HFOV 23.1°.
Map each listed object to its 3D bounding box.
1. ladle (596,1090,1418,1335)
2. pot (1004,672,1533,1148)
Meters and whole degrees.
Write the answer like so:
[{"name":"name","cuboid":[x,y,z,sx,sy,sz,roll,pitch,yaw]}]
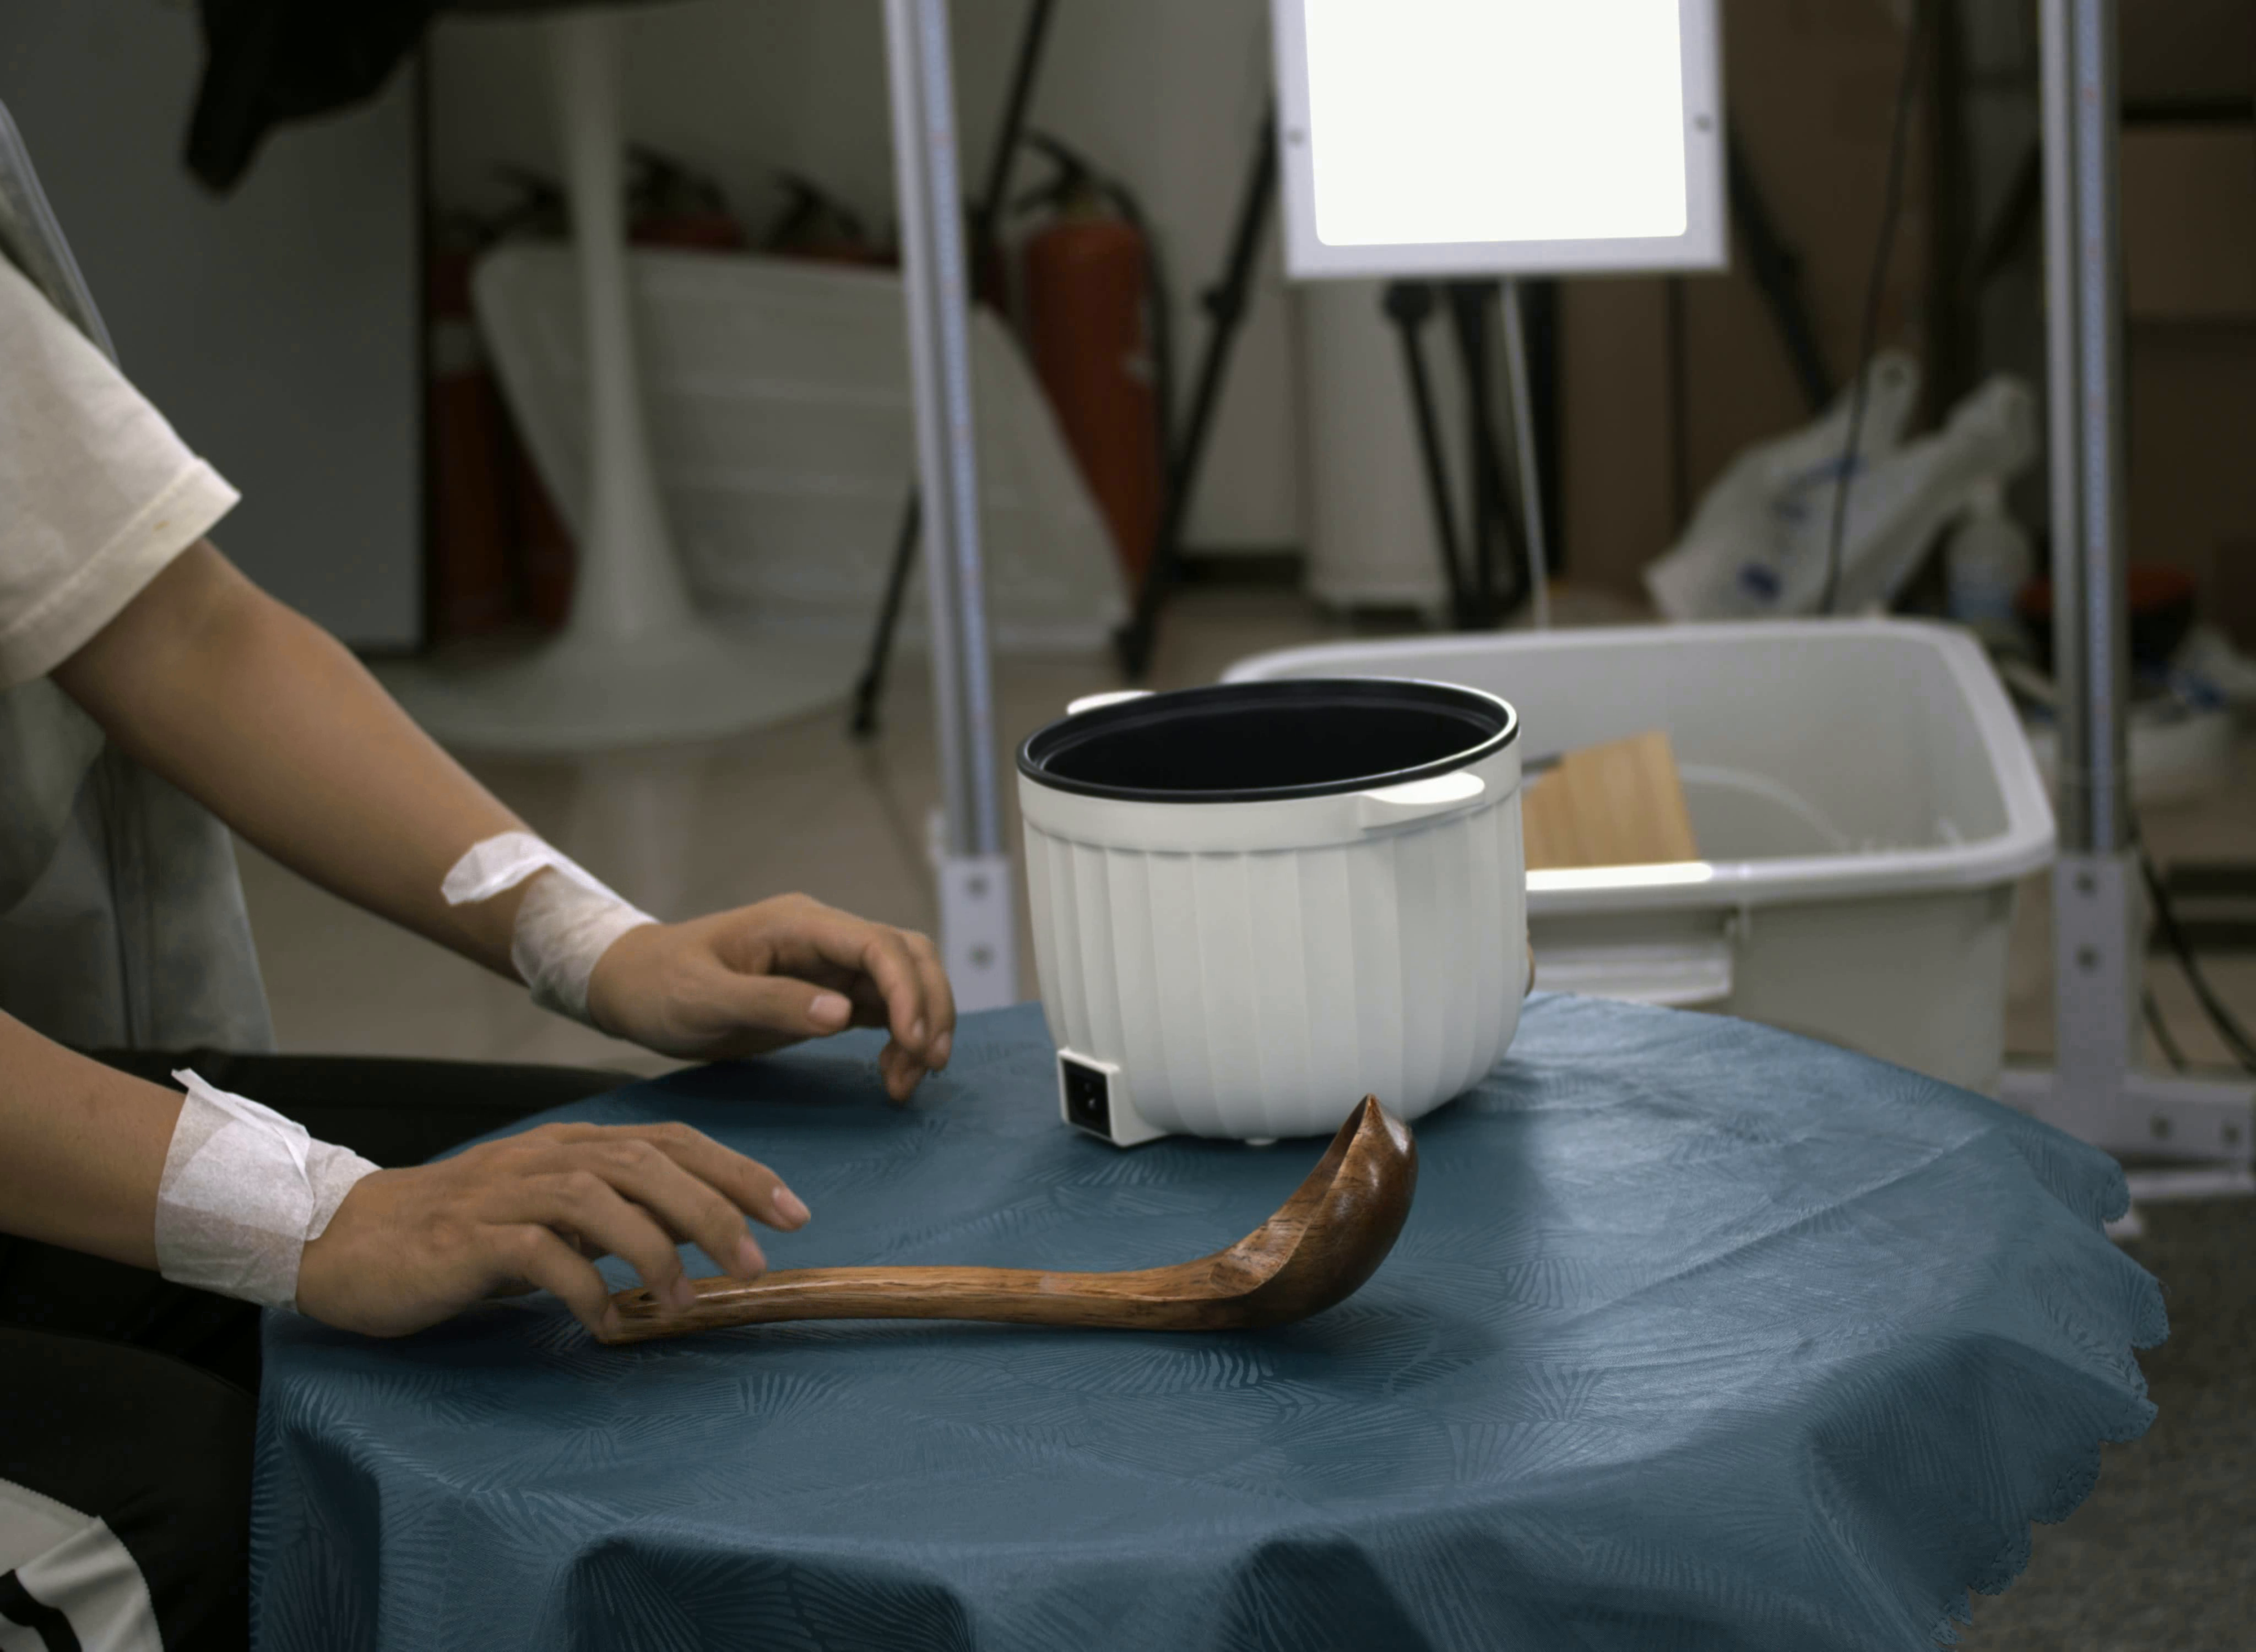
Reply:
[{"name":"ladle","cuboid":[-0.042,0.125,1.756,0.276,0.077,0.081,-1,14,14]},{"name":"pot","cuboid":[0.058,0.029,1.981,0.186,0.143,0.245,-16,18,-28]}]
